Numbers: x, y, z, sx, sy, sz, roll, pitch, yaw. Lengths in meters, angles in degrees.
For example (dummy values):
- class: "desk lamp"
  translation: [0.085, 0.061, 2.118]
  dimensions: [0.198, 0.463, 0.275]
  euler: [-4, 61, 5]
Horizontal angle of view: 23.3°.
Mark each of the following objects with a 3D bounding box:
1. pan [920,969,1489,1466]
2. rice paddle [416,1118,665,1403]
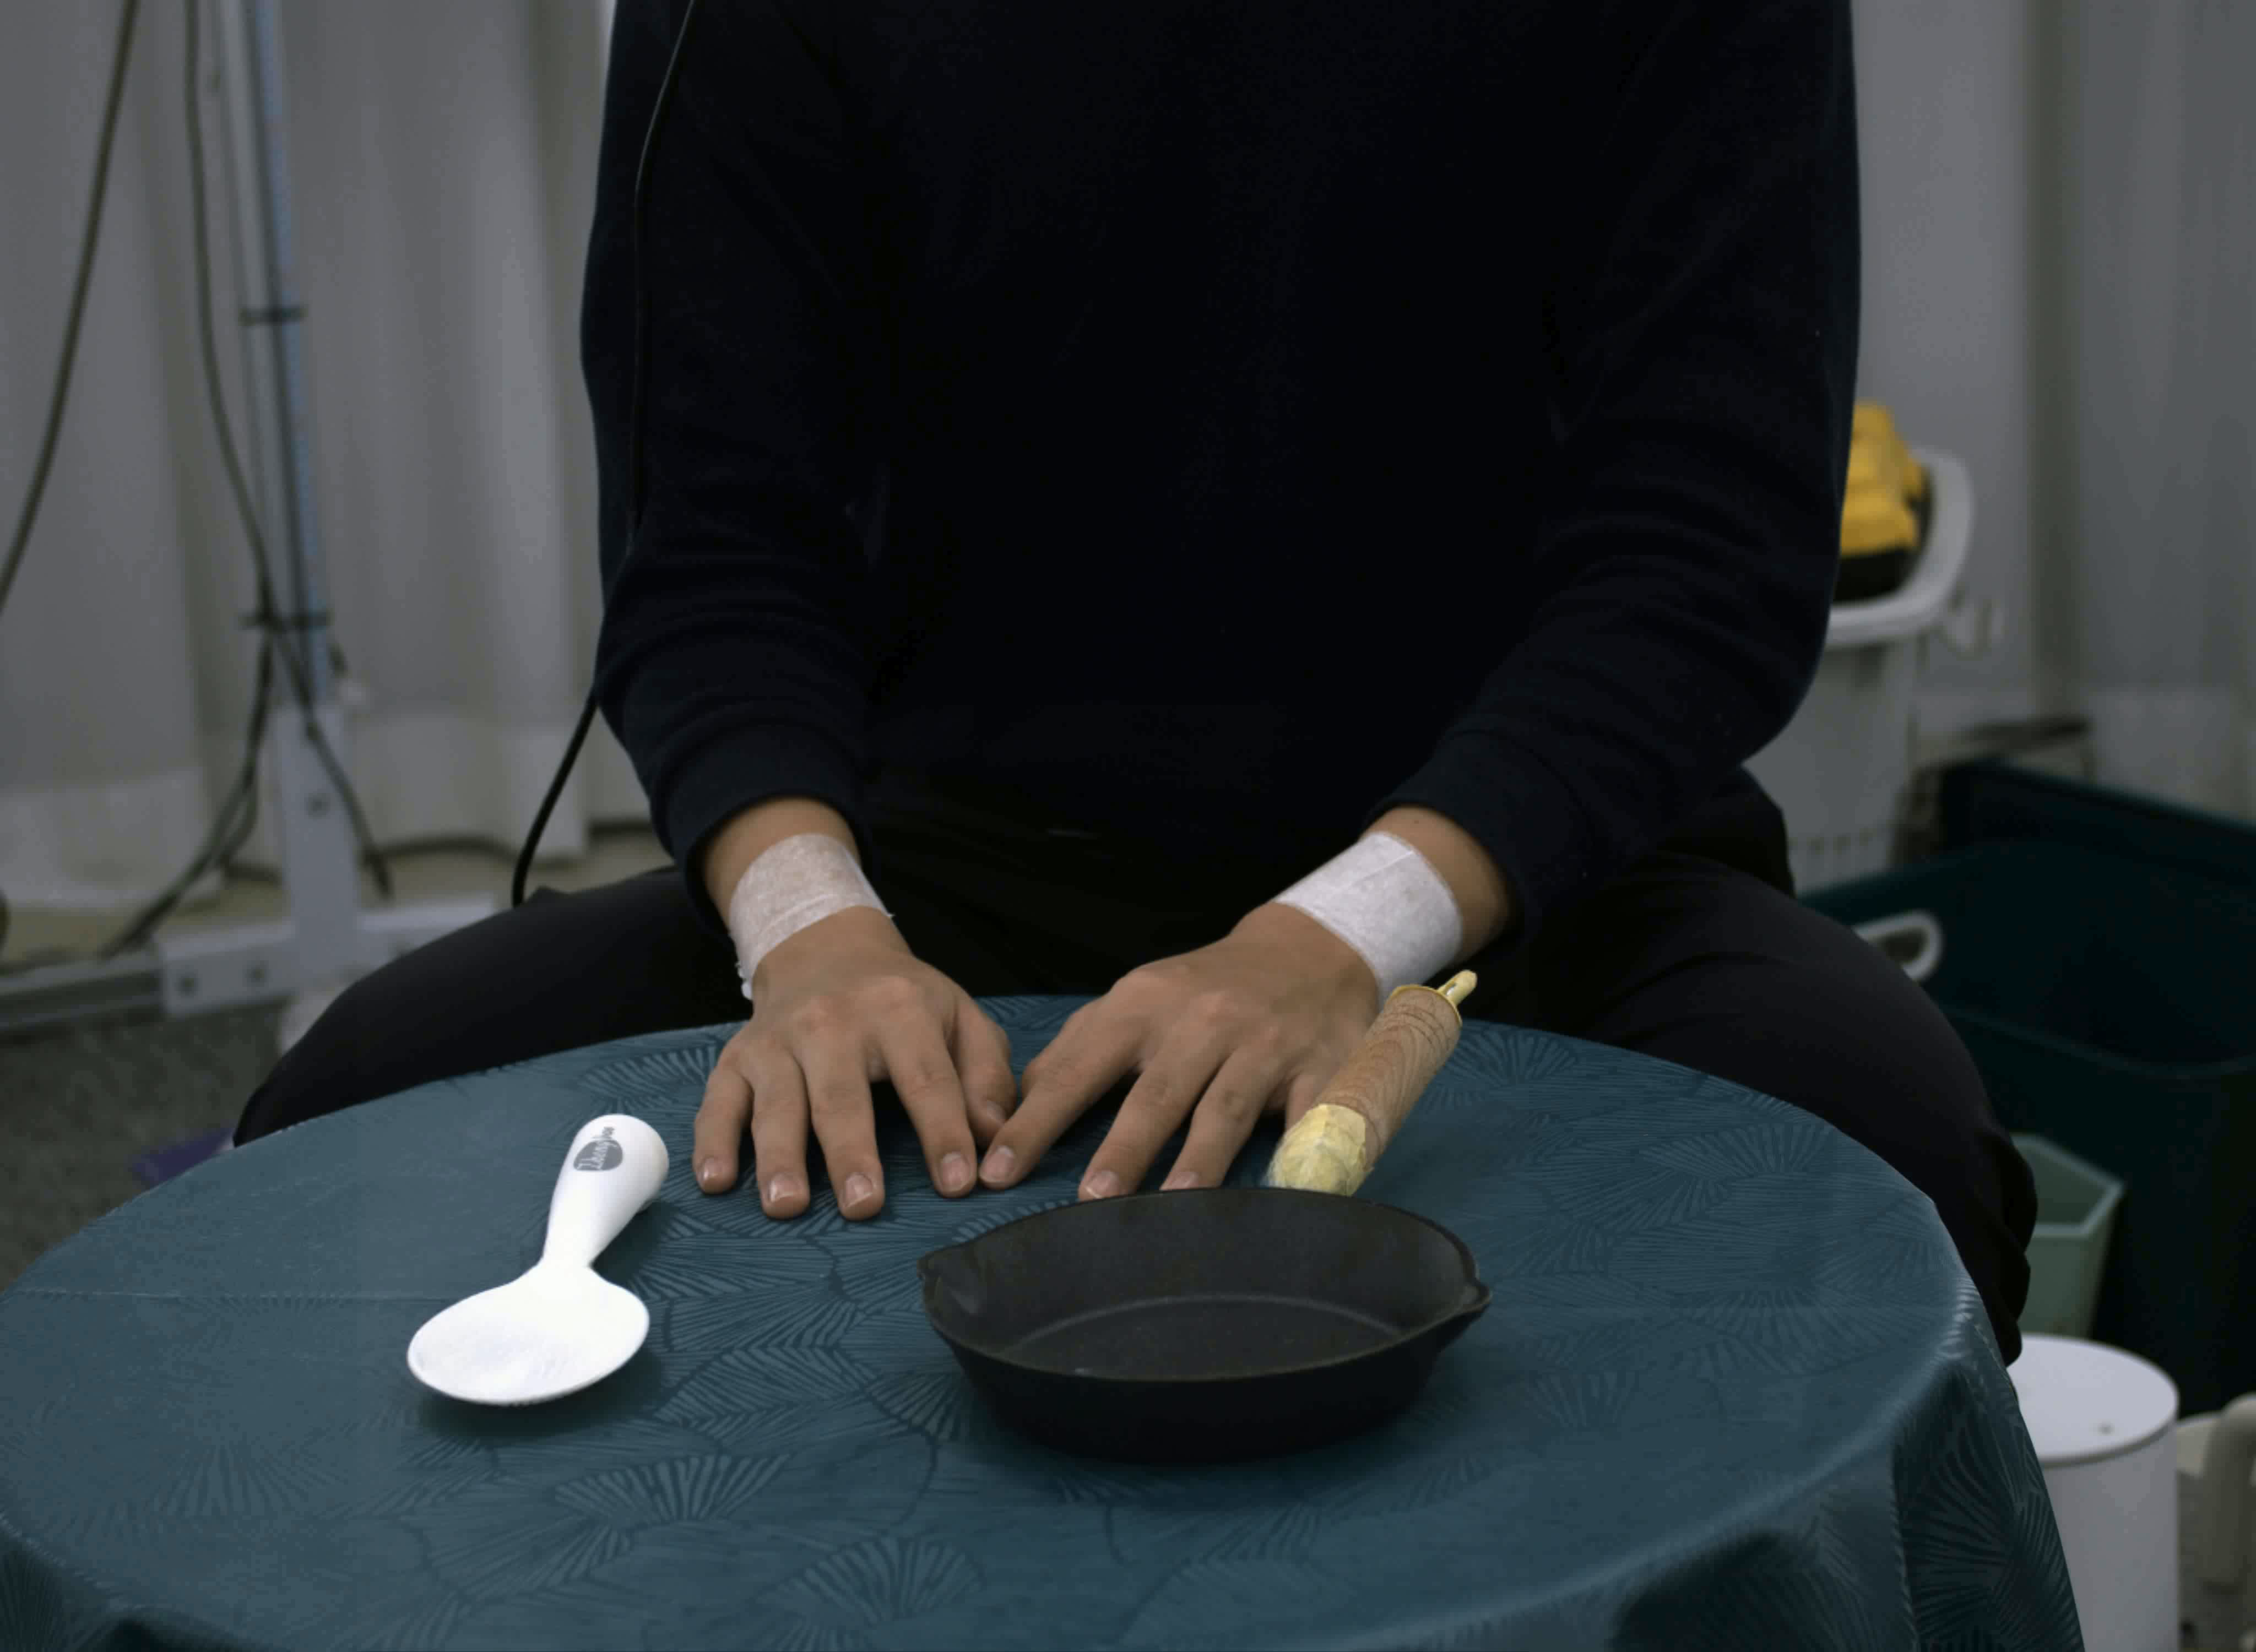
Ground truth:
- class: "pan"
  translation: [0.051, 0.112, 1.617]
  dimensions: [0.169, 0.049, 0.325]
  euler: [3, 18, 21]
- class: "rice paddle"
  translation: [-0.166, 0.132, 1.630]
  dimensions: [0.068, 0.029, 0.206]
  euler: [-4, 14, 4]
